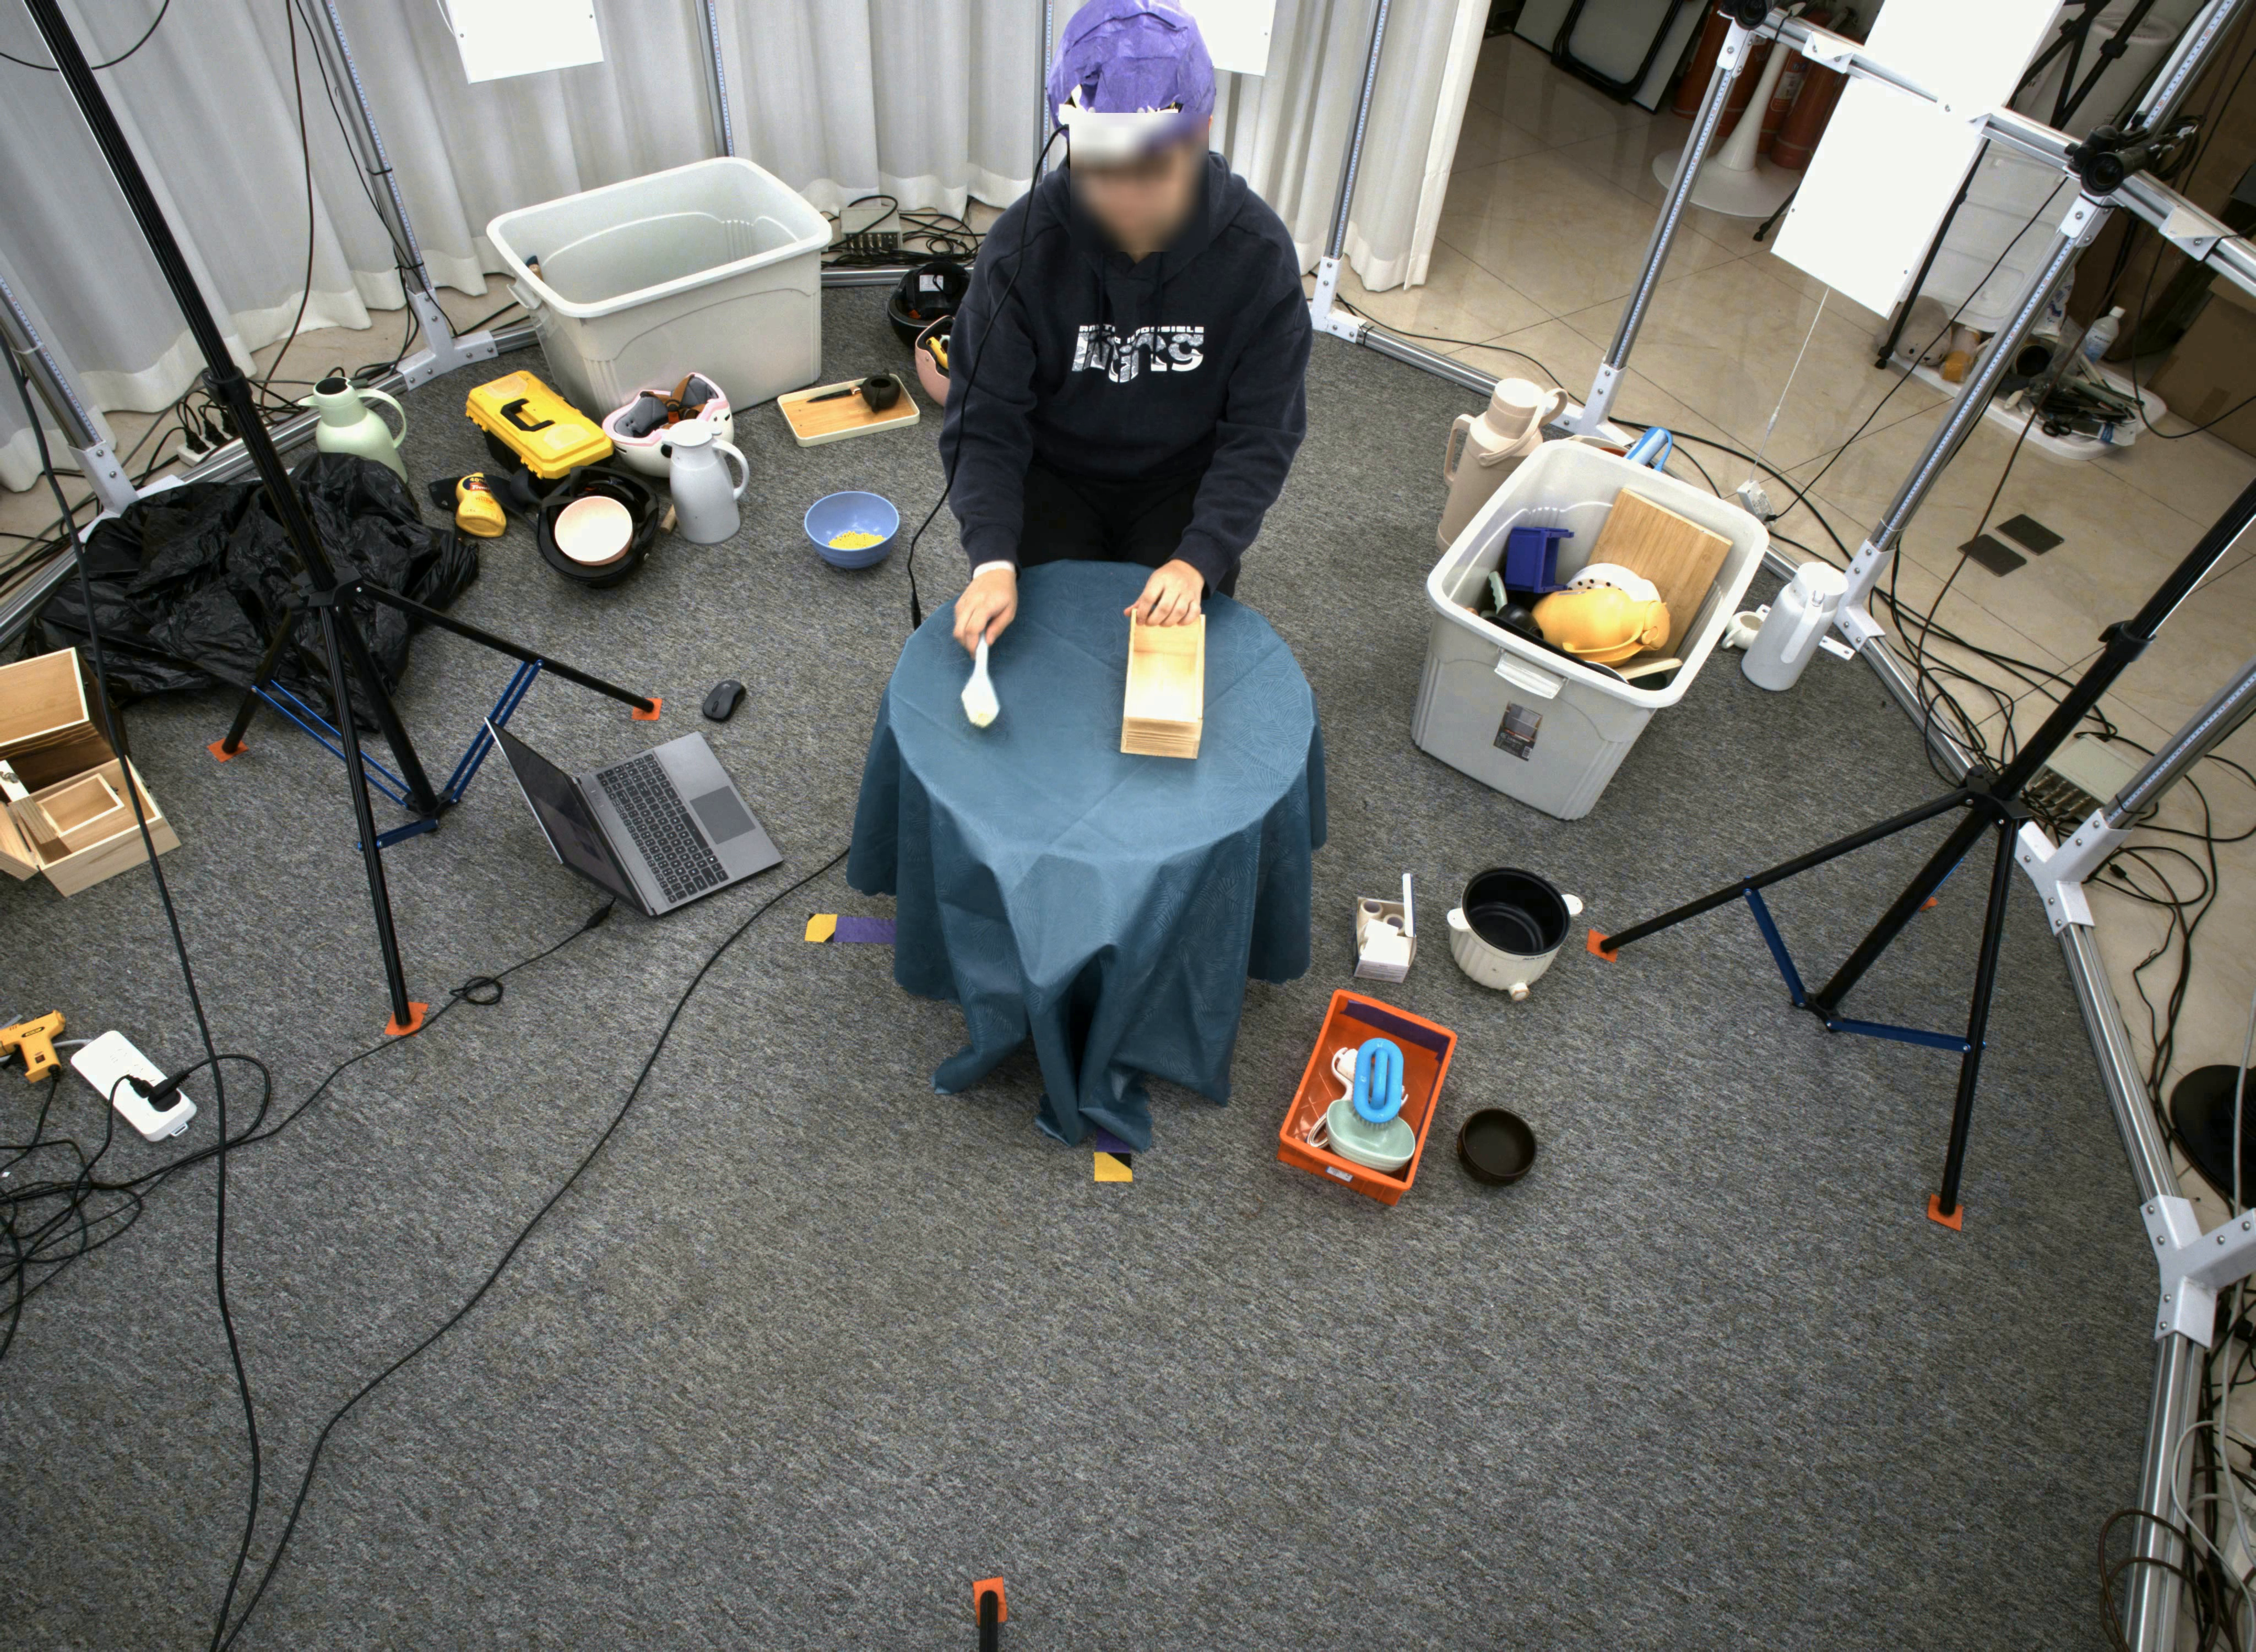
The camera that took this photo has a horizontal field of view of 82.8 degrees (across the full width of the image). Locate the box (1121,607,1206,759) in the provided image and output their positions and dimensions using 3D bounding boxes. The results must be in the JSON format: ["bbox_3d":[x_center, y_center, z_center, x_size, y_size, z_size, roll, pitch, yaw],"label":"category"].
[{"bbox_3d":[0.051,-0.202,1.793,0.107,0.078,0.216,5,49,-1],"label":"box"}]

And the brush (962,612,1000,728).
[{"bbox_3d":[-0.214,-0.223,1.805,0.037,0.049,0.234,19,40,-32],"label":"brush"}]
